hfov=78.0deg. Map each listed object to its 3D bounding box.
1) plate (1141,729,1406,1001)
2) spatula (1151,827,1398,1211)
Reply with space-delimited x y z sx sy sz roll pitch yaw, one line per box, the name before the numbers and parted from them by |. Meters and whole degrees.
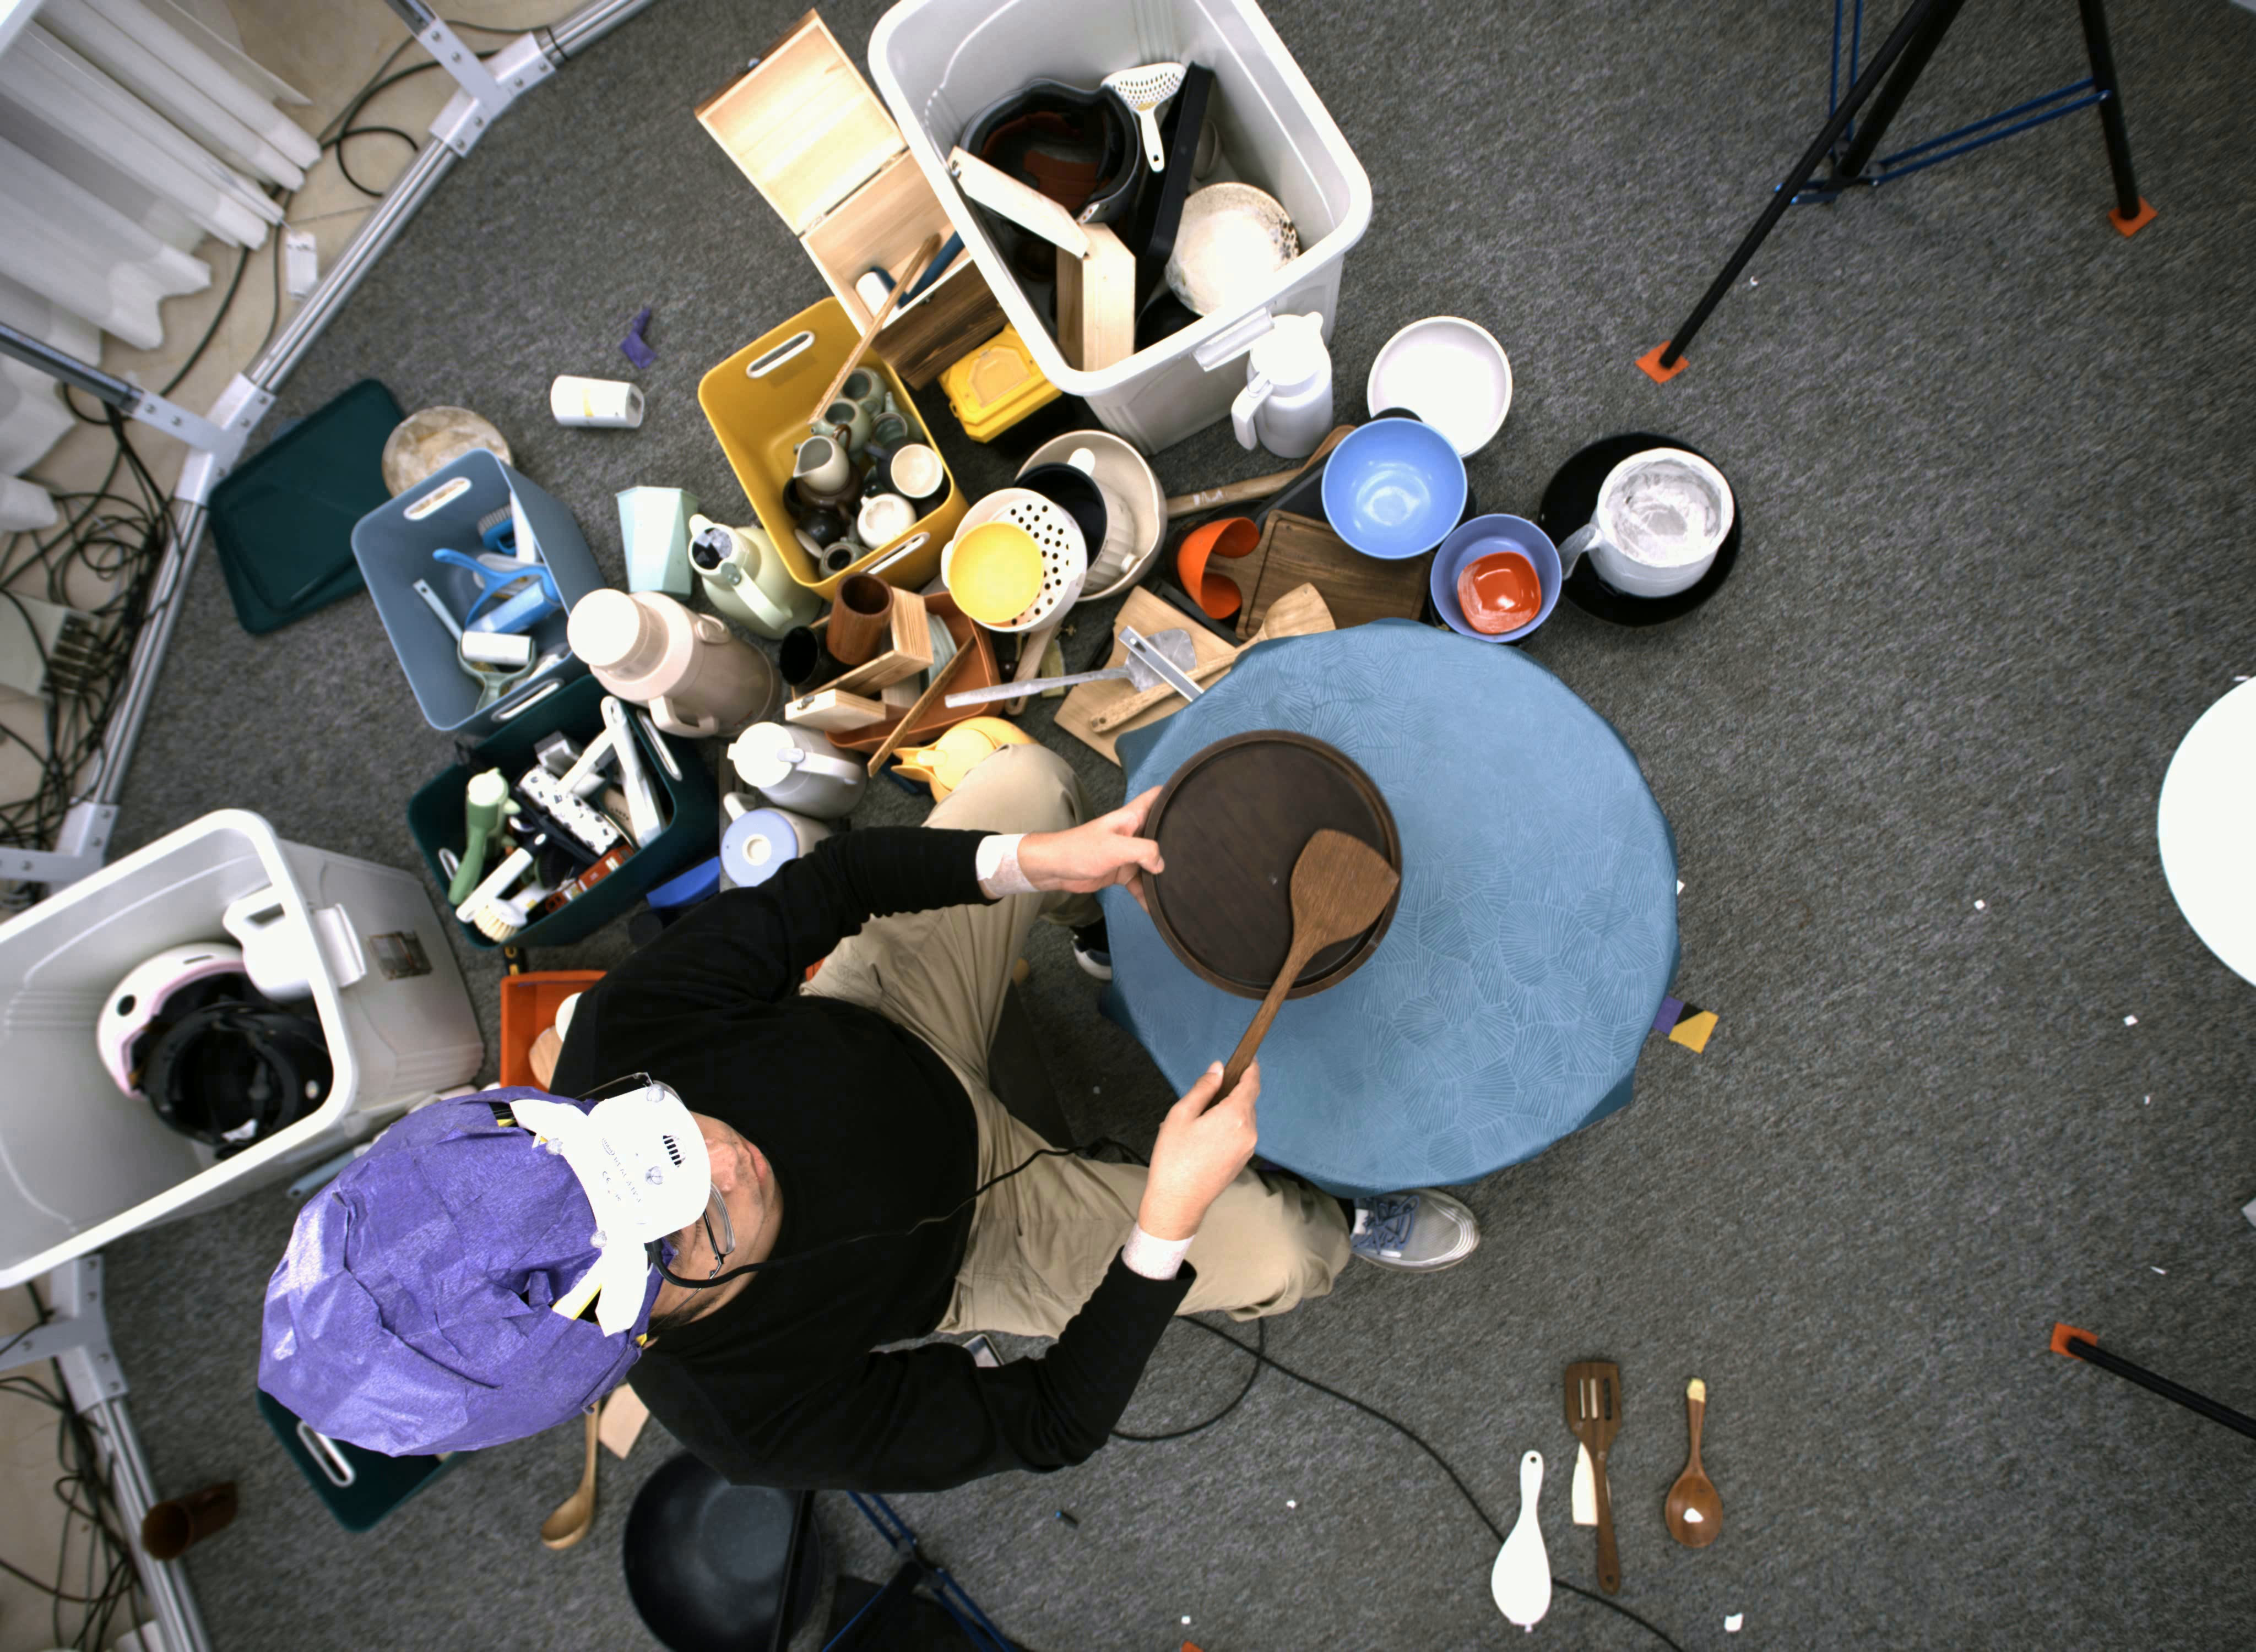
plate | 0.135 0.035 1.283 0.254 0.029 0.254 1 88 -11
spatula | 0.123 0.178 1.262 0.096 0.016 0.383 31 84 -5
